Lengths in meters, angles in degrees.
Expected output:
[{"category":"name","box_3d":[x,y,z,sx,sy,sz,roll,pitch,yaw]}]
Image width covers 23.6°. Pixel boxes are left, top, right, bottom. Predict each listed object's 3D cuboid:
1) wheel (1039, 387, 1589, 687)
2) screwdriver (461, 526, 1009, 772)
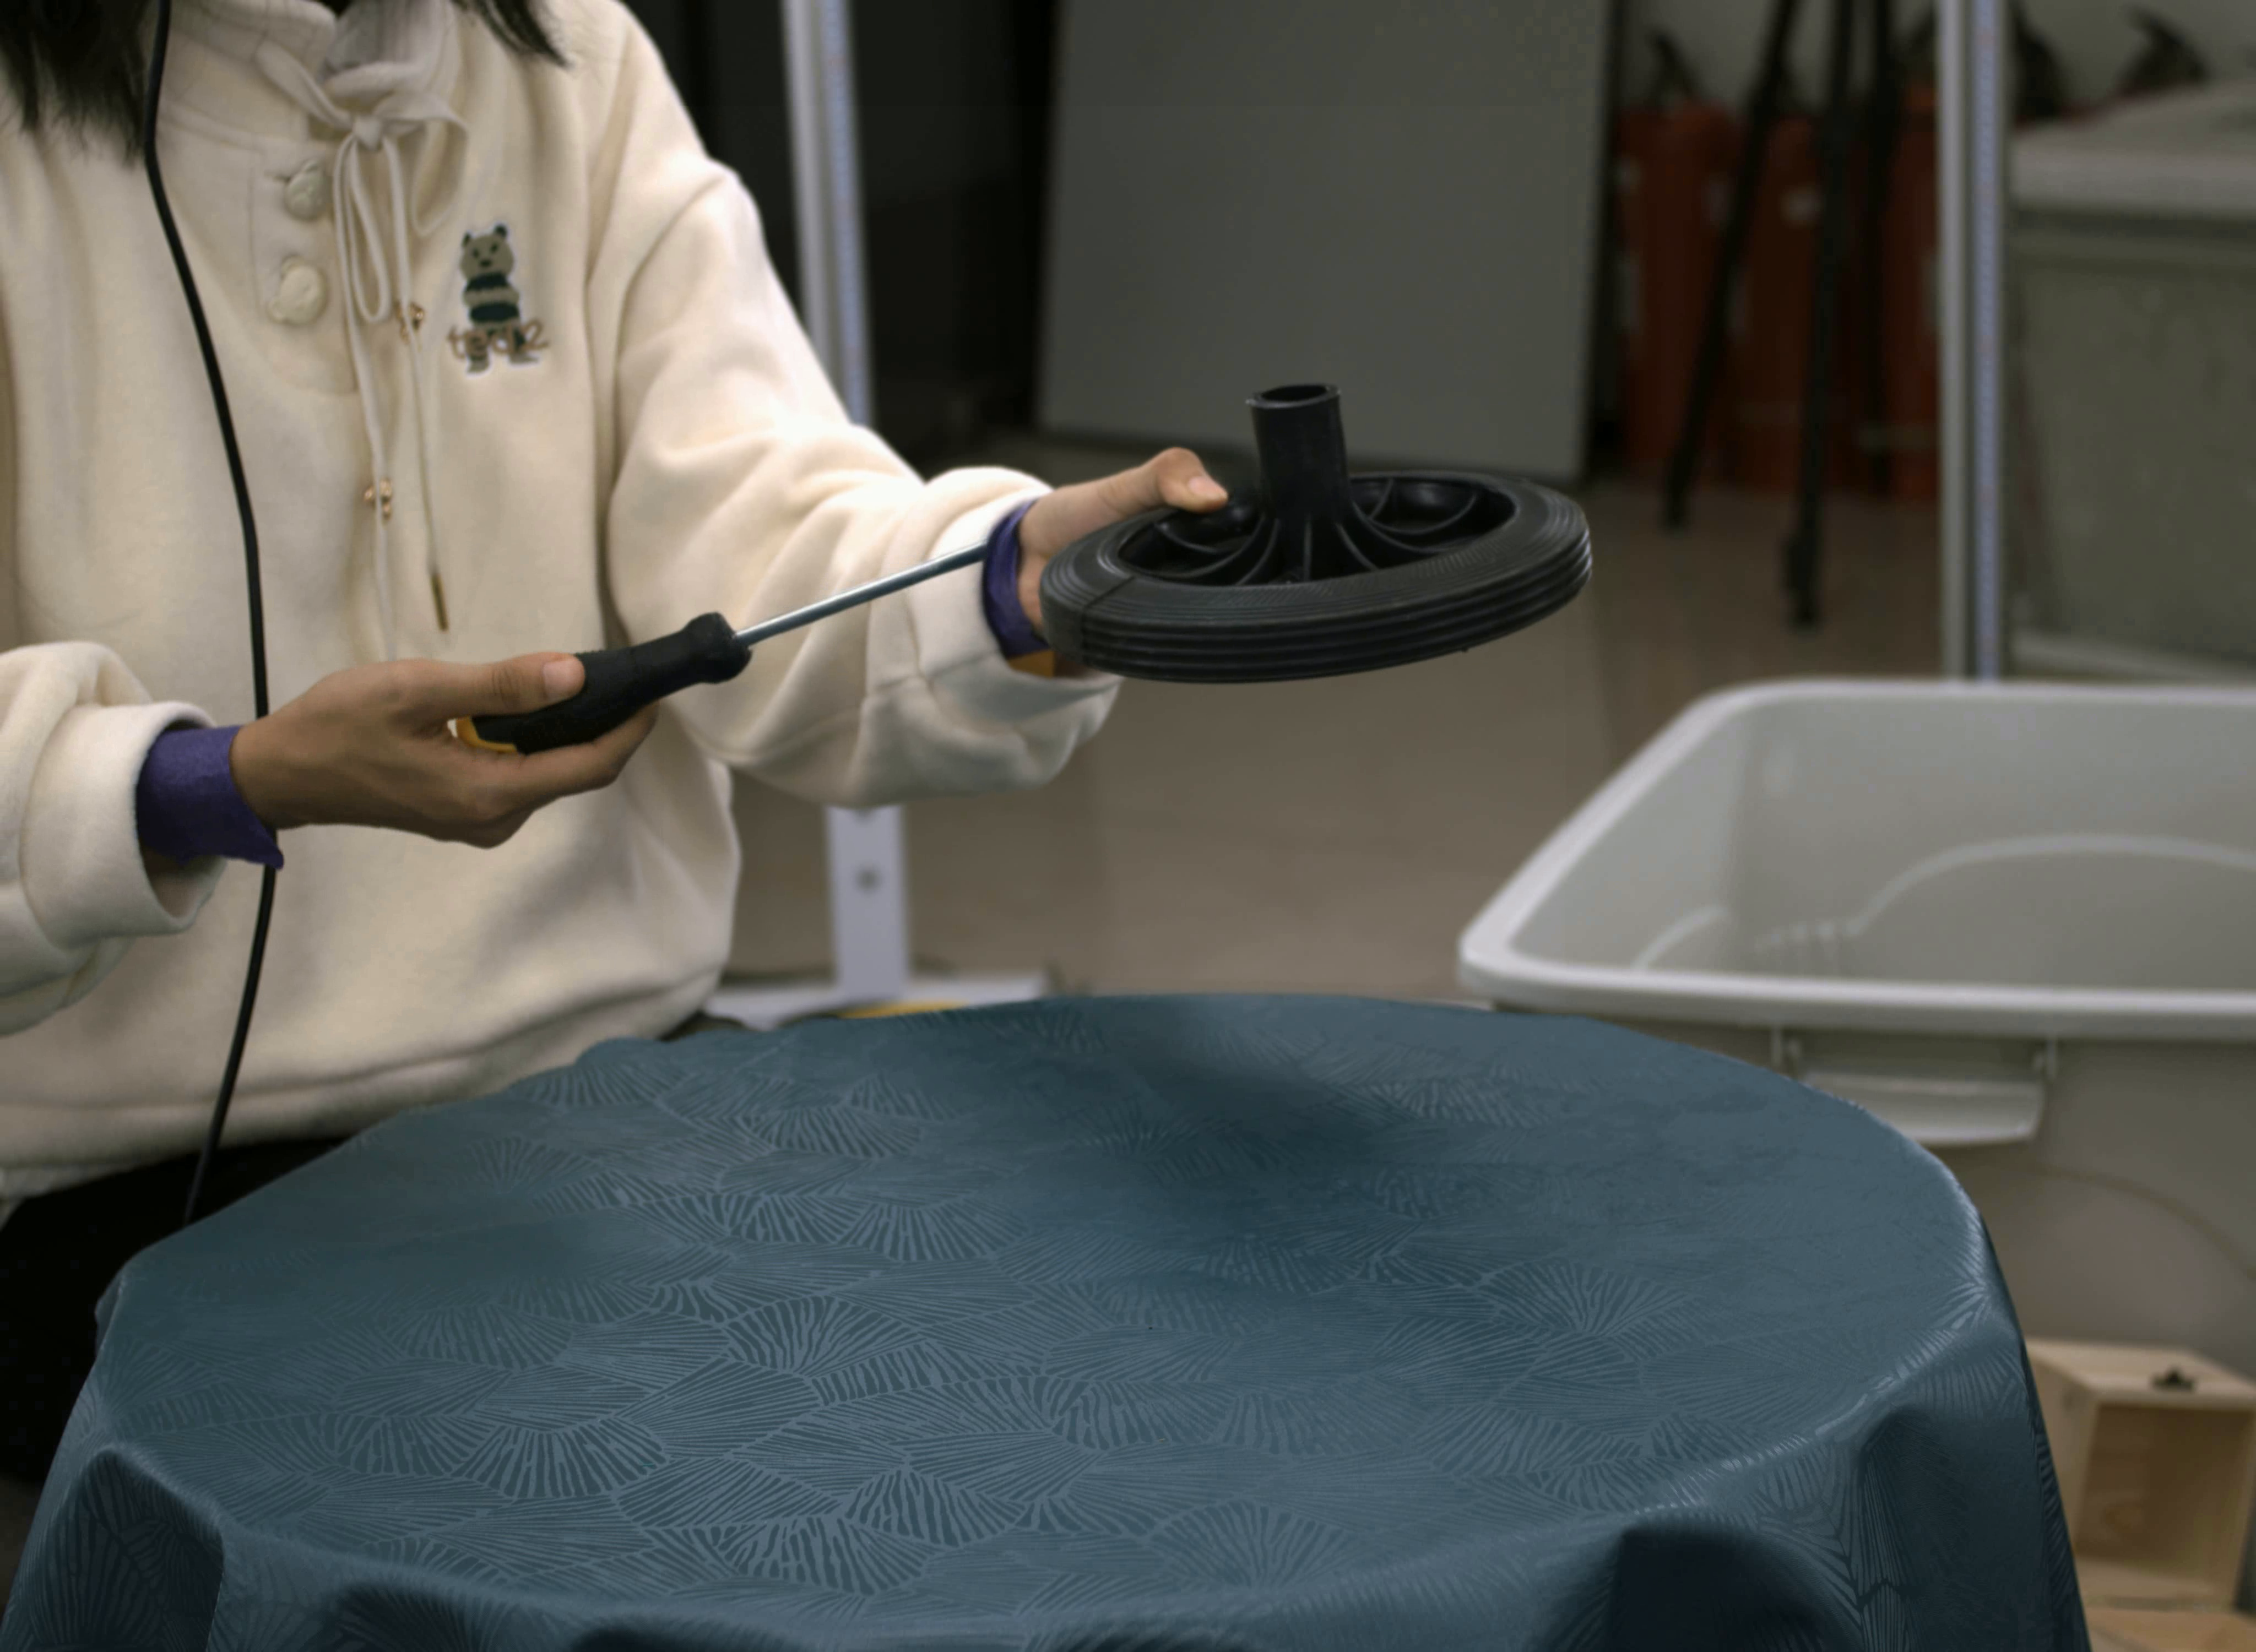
[{"category":"wheel","box_3d":[0.059,-0.104,1.807,0.185,0.080,0.190,-7,17,6]},{"category":"screwdriver","box_3d":[-0.129,-0.060,1.792,0.196,0.031,0.031,-19,12,6]}]
